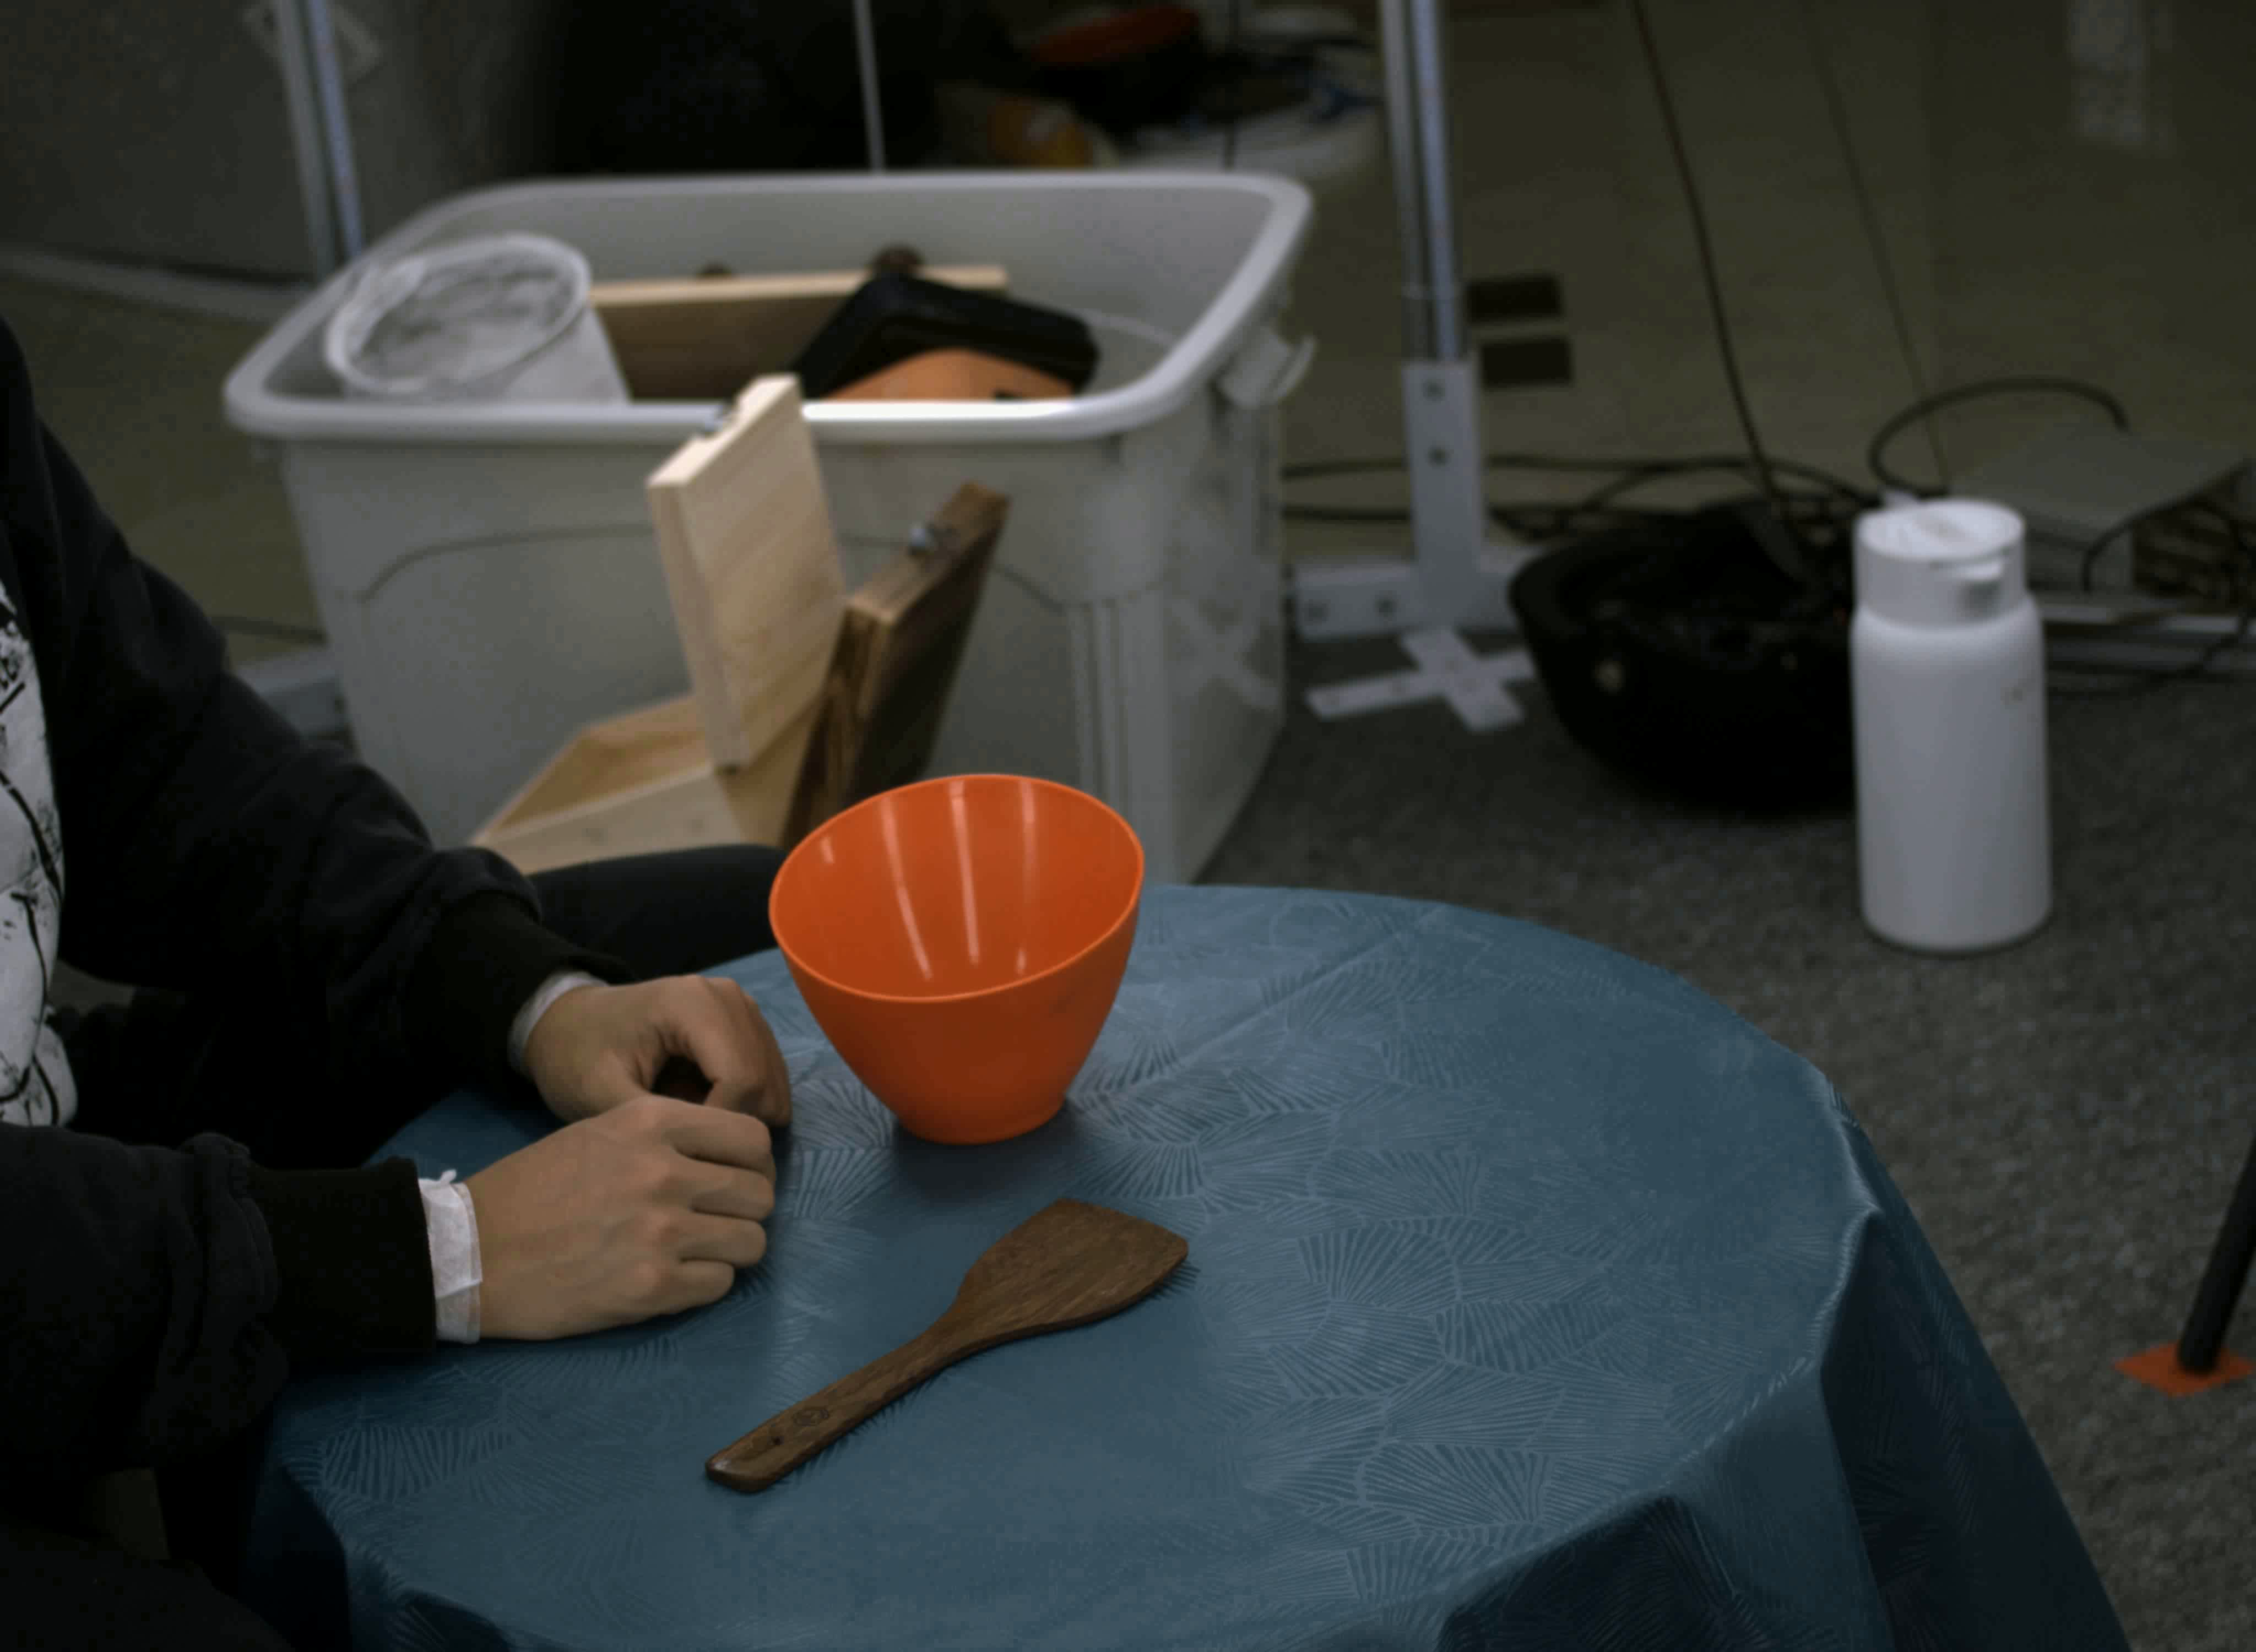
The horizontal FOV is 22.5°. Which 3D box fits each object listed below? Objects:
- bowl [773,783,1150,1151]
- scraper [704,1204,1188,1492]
[{"bbox_3d":[-0.061,0.061,2.214,0.148,0.106,0.146,-5,25,2],"label":"bowl"},{"bbox_3d":[-0.070,0.190,2.052,0.075,0.011,0.209,16,34,43],"label":"scraper"}]
